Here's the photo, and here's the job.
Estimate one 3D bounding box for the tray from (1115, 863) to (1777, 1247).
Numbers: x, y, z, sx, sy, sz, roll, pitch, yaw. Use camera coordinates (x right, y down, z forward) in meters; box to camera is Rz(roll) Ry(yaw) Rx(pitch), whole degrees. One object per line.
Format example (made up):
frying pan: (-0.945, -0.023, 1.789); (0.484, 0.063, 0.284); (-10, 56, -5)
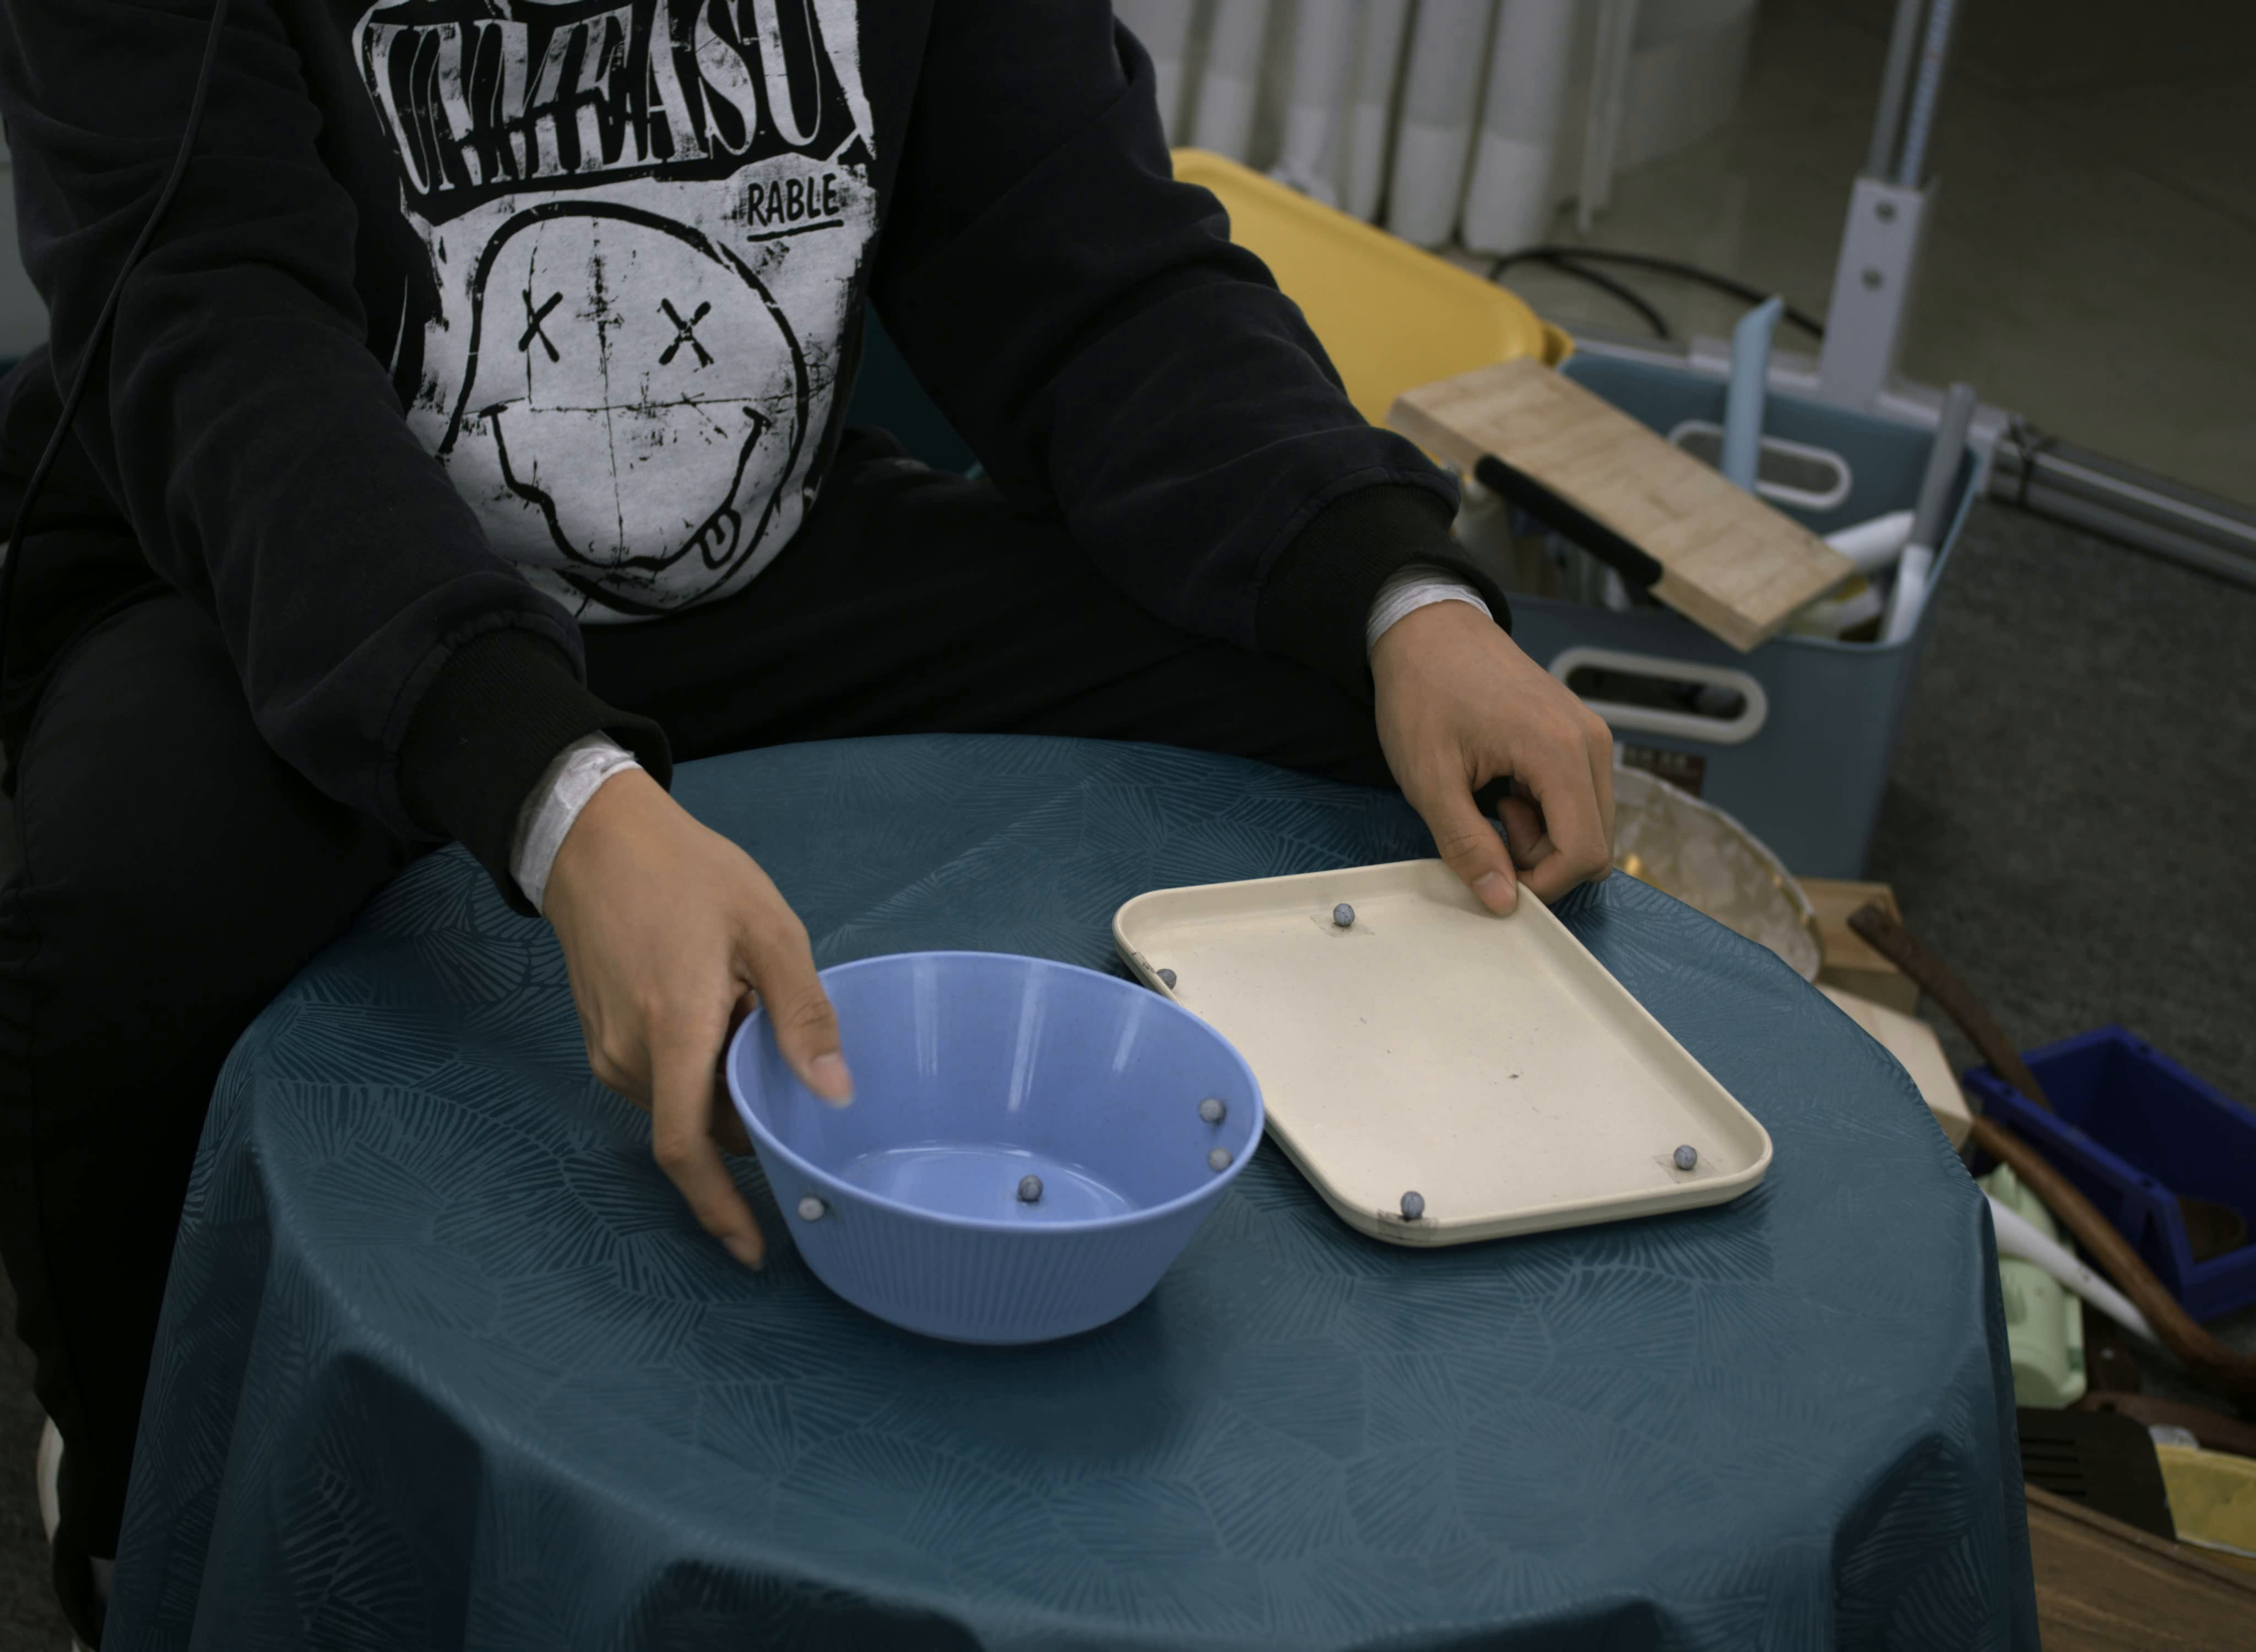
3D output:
tray: (0.109, 0.080, 1.892); (0.170, 0.017, 0.242); (-5, 29, -24)

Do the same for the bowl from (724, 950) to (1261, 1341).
bowl: (-0.047, 0.110, 1.737); (0.175, 0.070, 0.177); (6, 27, -3)
